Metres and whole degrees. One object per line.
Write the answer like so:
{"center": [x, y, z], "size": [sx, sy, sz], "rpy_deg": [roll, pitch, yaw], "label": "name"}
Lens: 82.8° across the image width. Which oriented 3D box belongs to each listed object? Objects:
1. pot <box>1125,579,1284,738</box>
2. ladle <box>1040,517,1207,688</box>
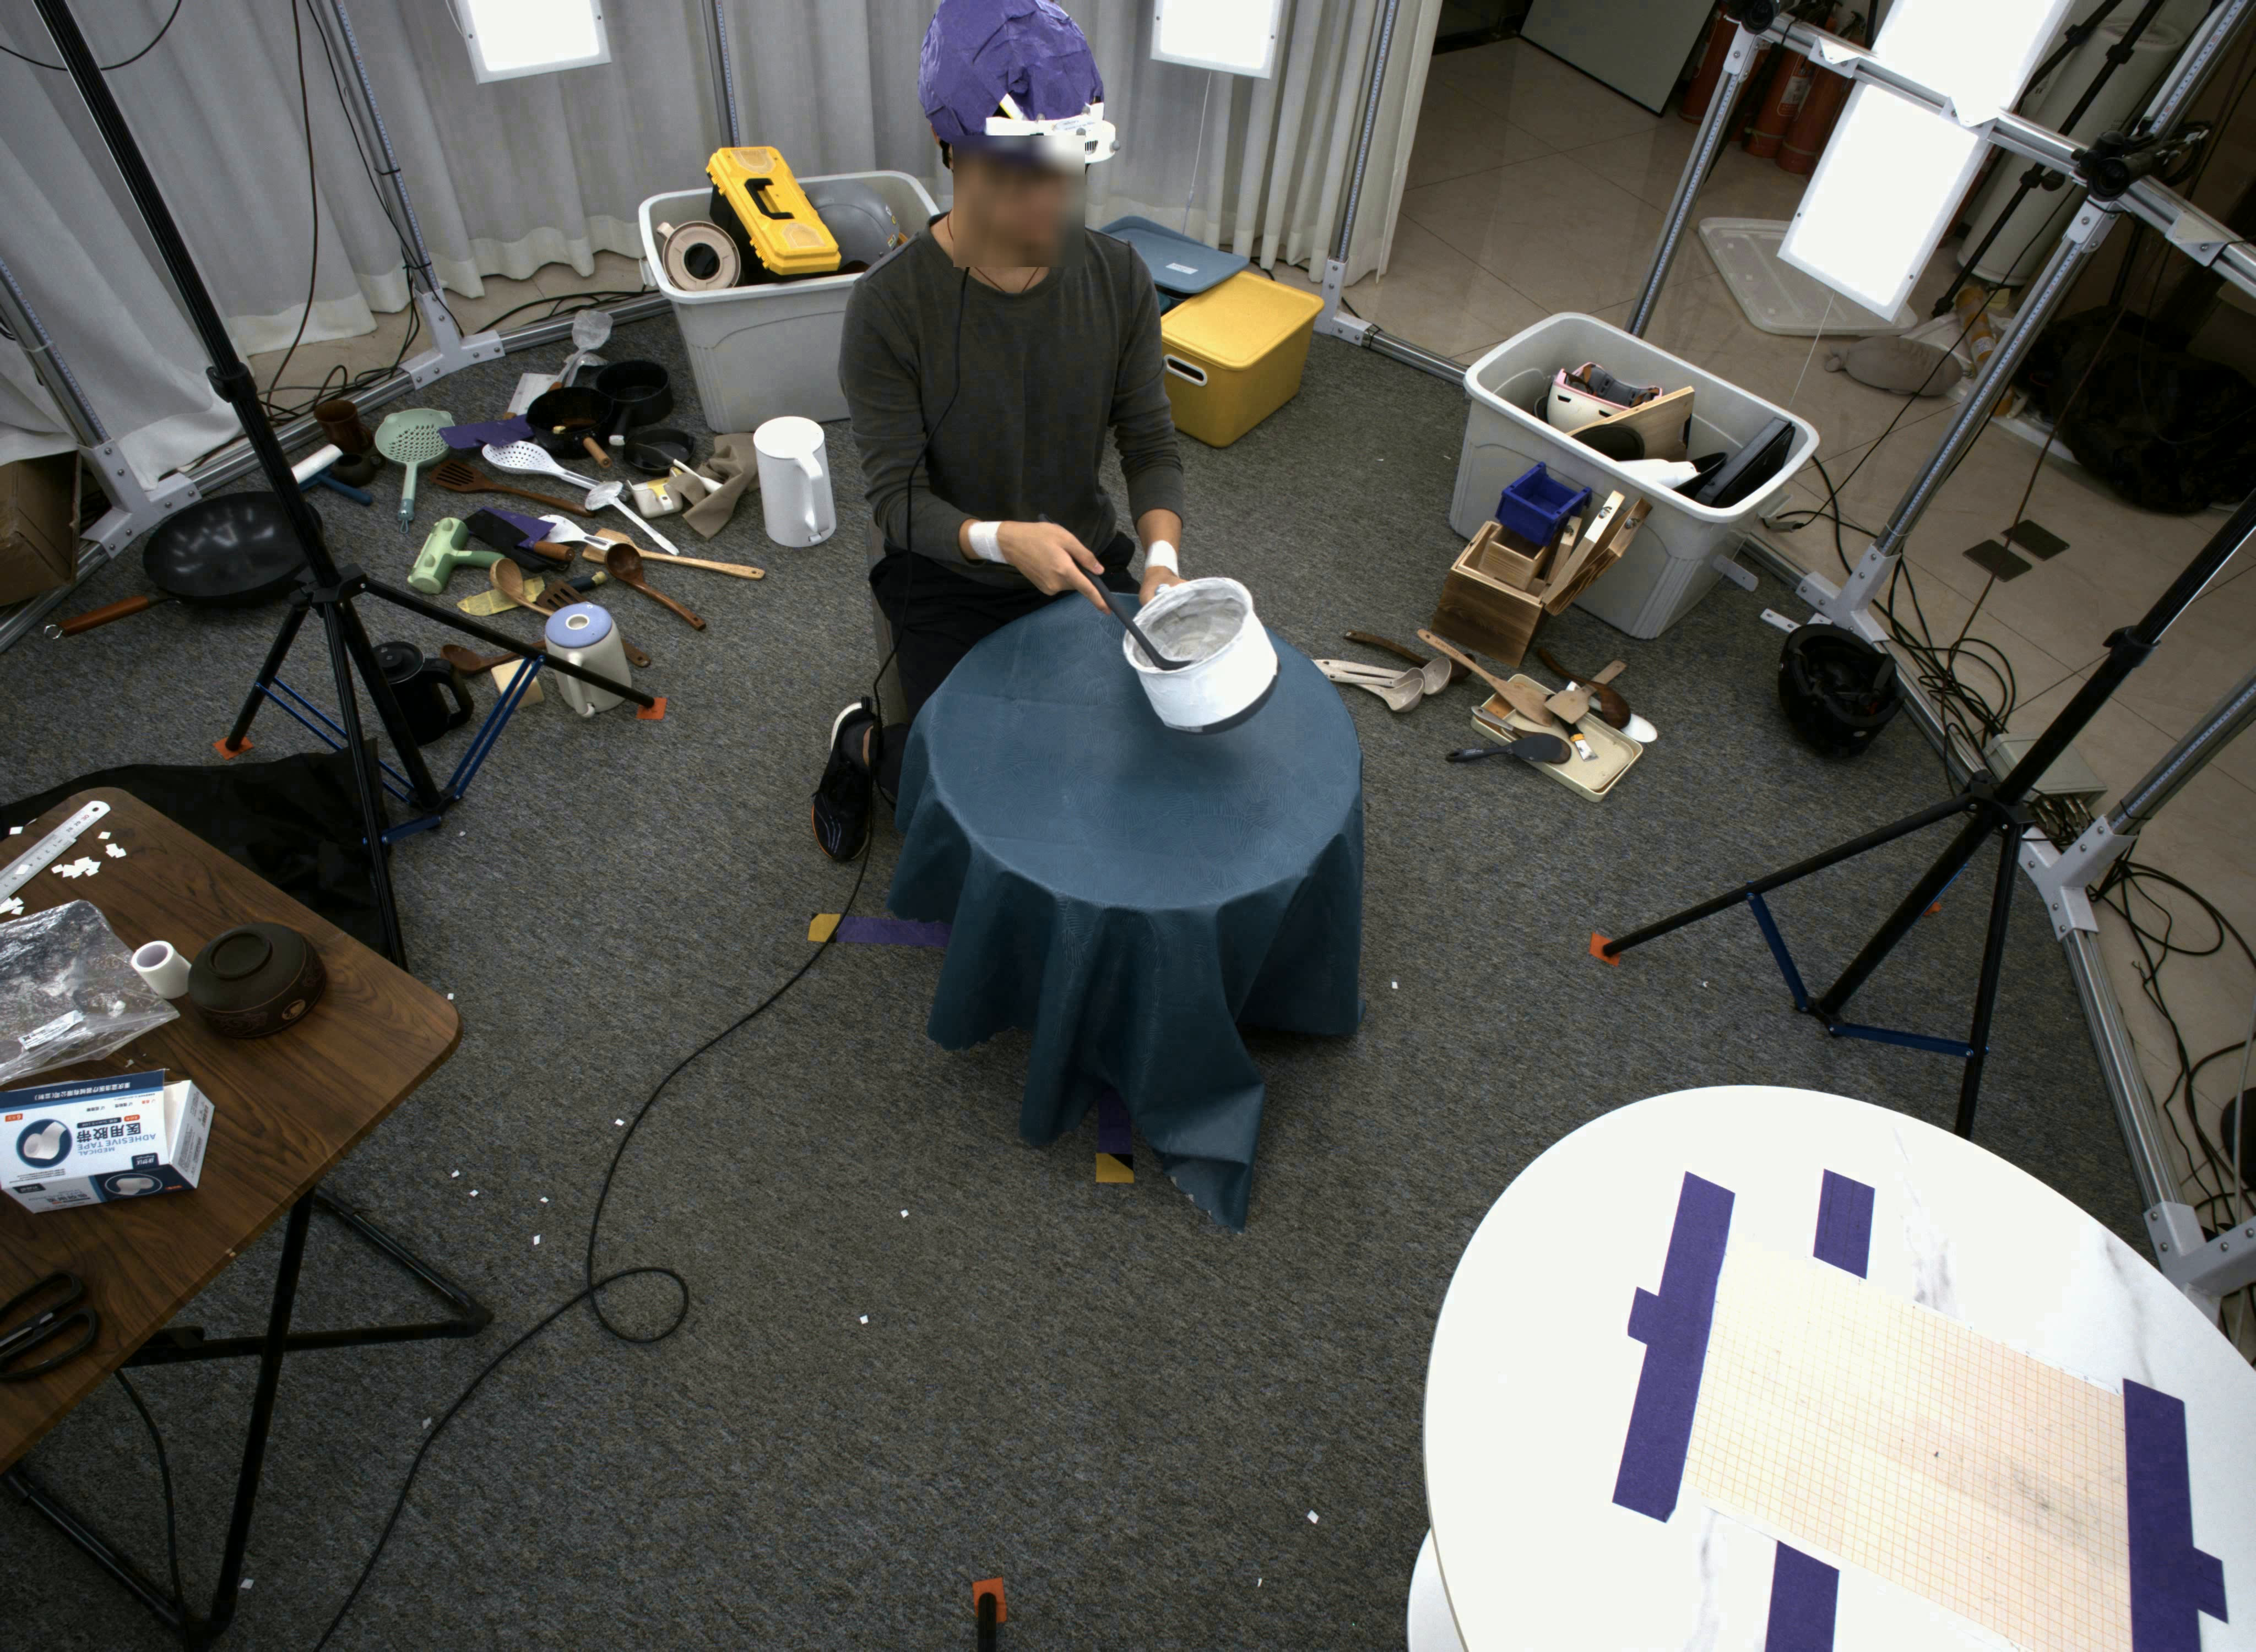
{"center": [0.093, -0.229, 1.681], "size": [0.178, 0.133, 0.239], "rpy_deg": [-29, 41, 0], "label": "pot"}
{"center": [0.001, -0.294, 1.642], "size": [0.317, 0.063, 0.086], "rpy_deg": [51, 21, 11], "label": "ladle"}
